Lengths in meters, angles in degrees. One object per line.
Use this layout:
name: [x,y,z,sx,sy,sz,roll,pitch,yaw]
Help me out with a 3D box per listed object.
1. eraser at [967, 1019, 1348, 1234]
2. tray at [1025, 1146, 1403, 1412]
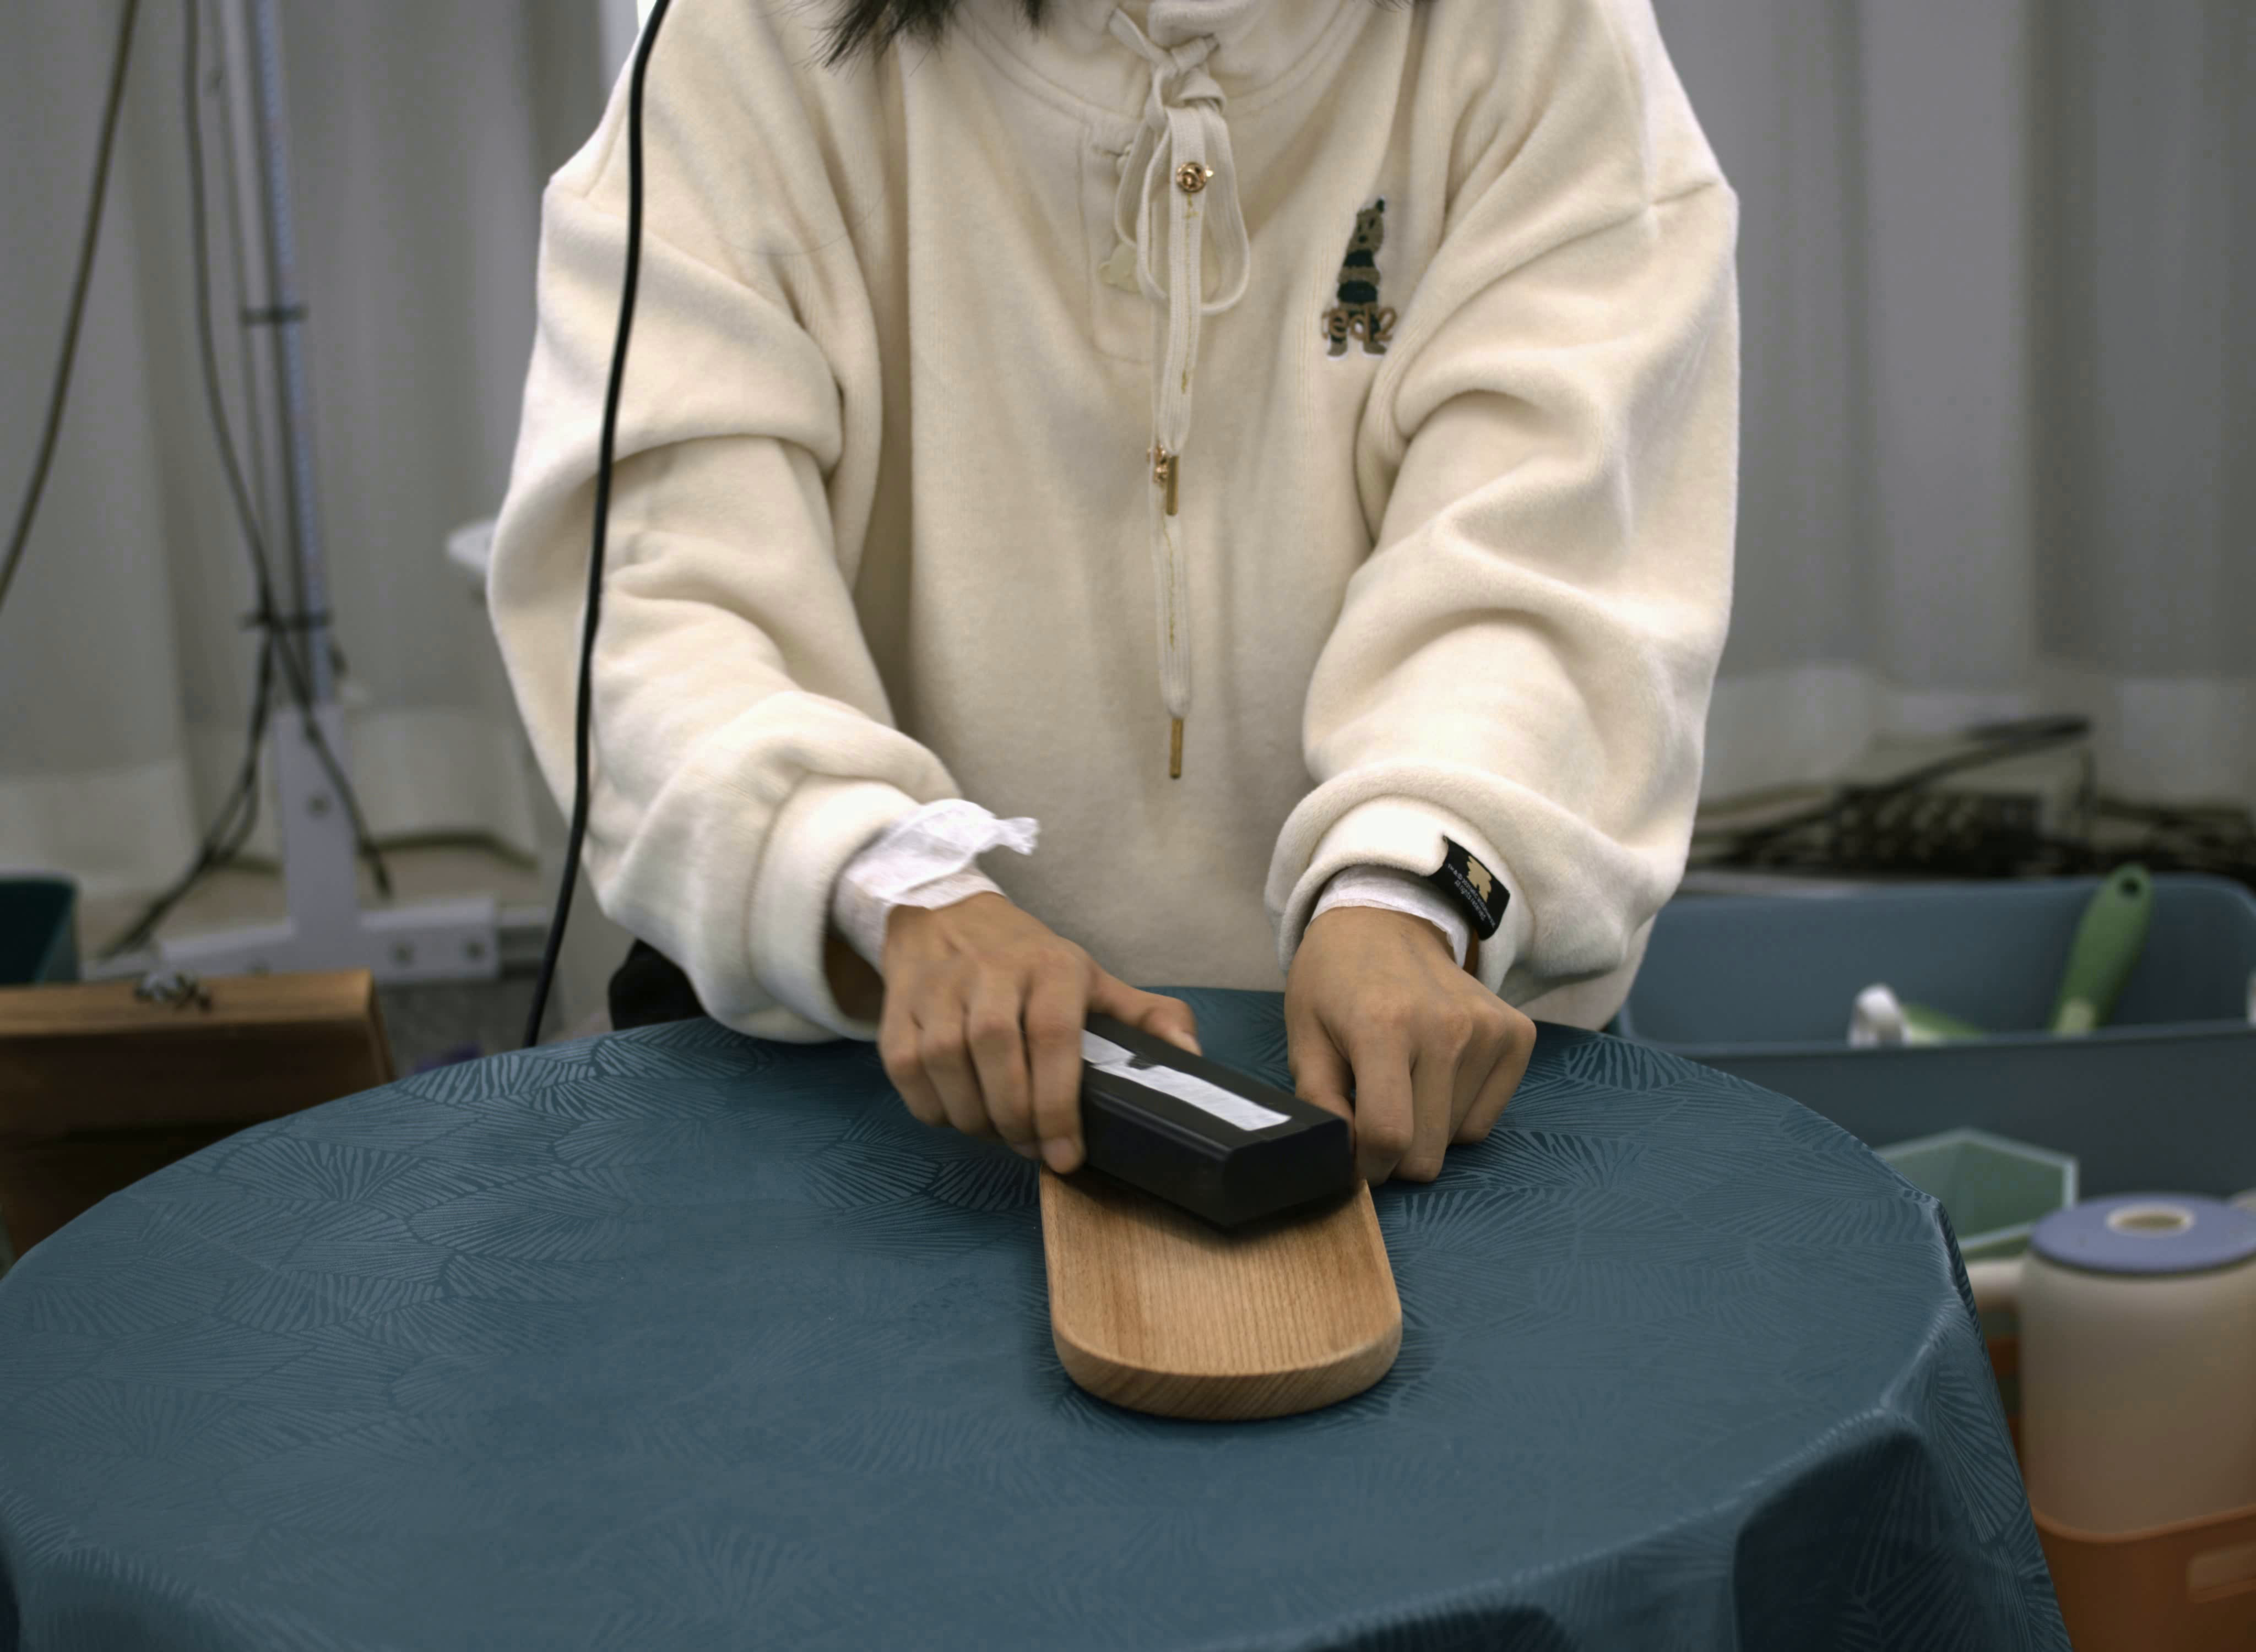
eraser: [0.008,0.092,1.689,0.053,0.030,0.126,-6,19,-40]
tray: [0.023,0.129,1.625,0.101,0.020,0.232,-2,13,-4]
